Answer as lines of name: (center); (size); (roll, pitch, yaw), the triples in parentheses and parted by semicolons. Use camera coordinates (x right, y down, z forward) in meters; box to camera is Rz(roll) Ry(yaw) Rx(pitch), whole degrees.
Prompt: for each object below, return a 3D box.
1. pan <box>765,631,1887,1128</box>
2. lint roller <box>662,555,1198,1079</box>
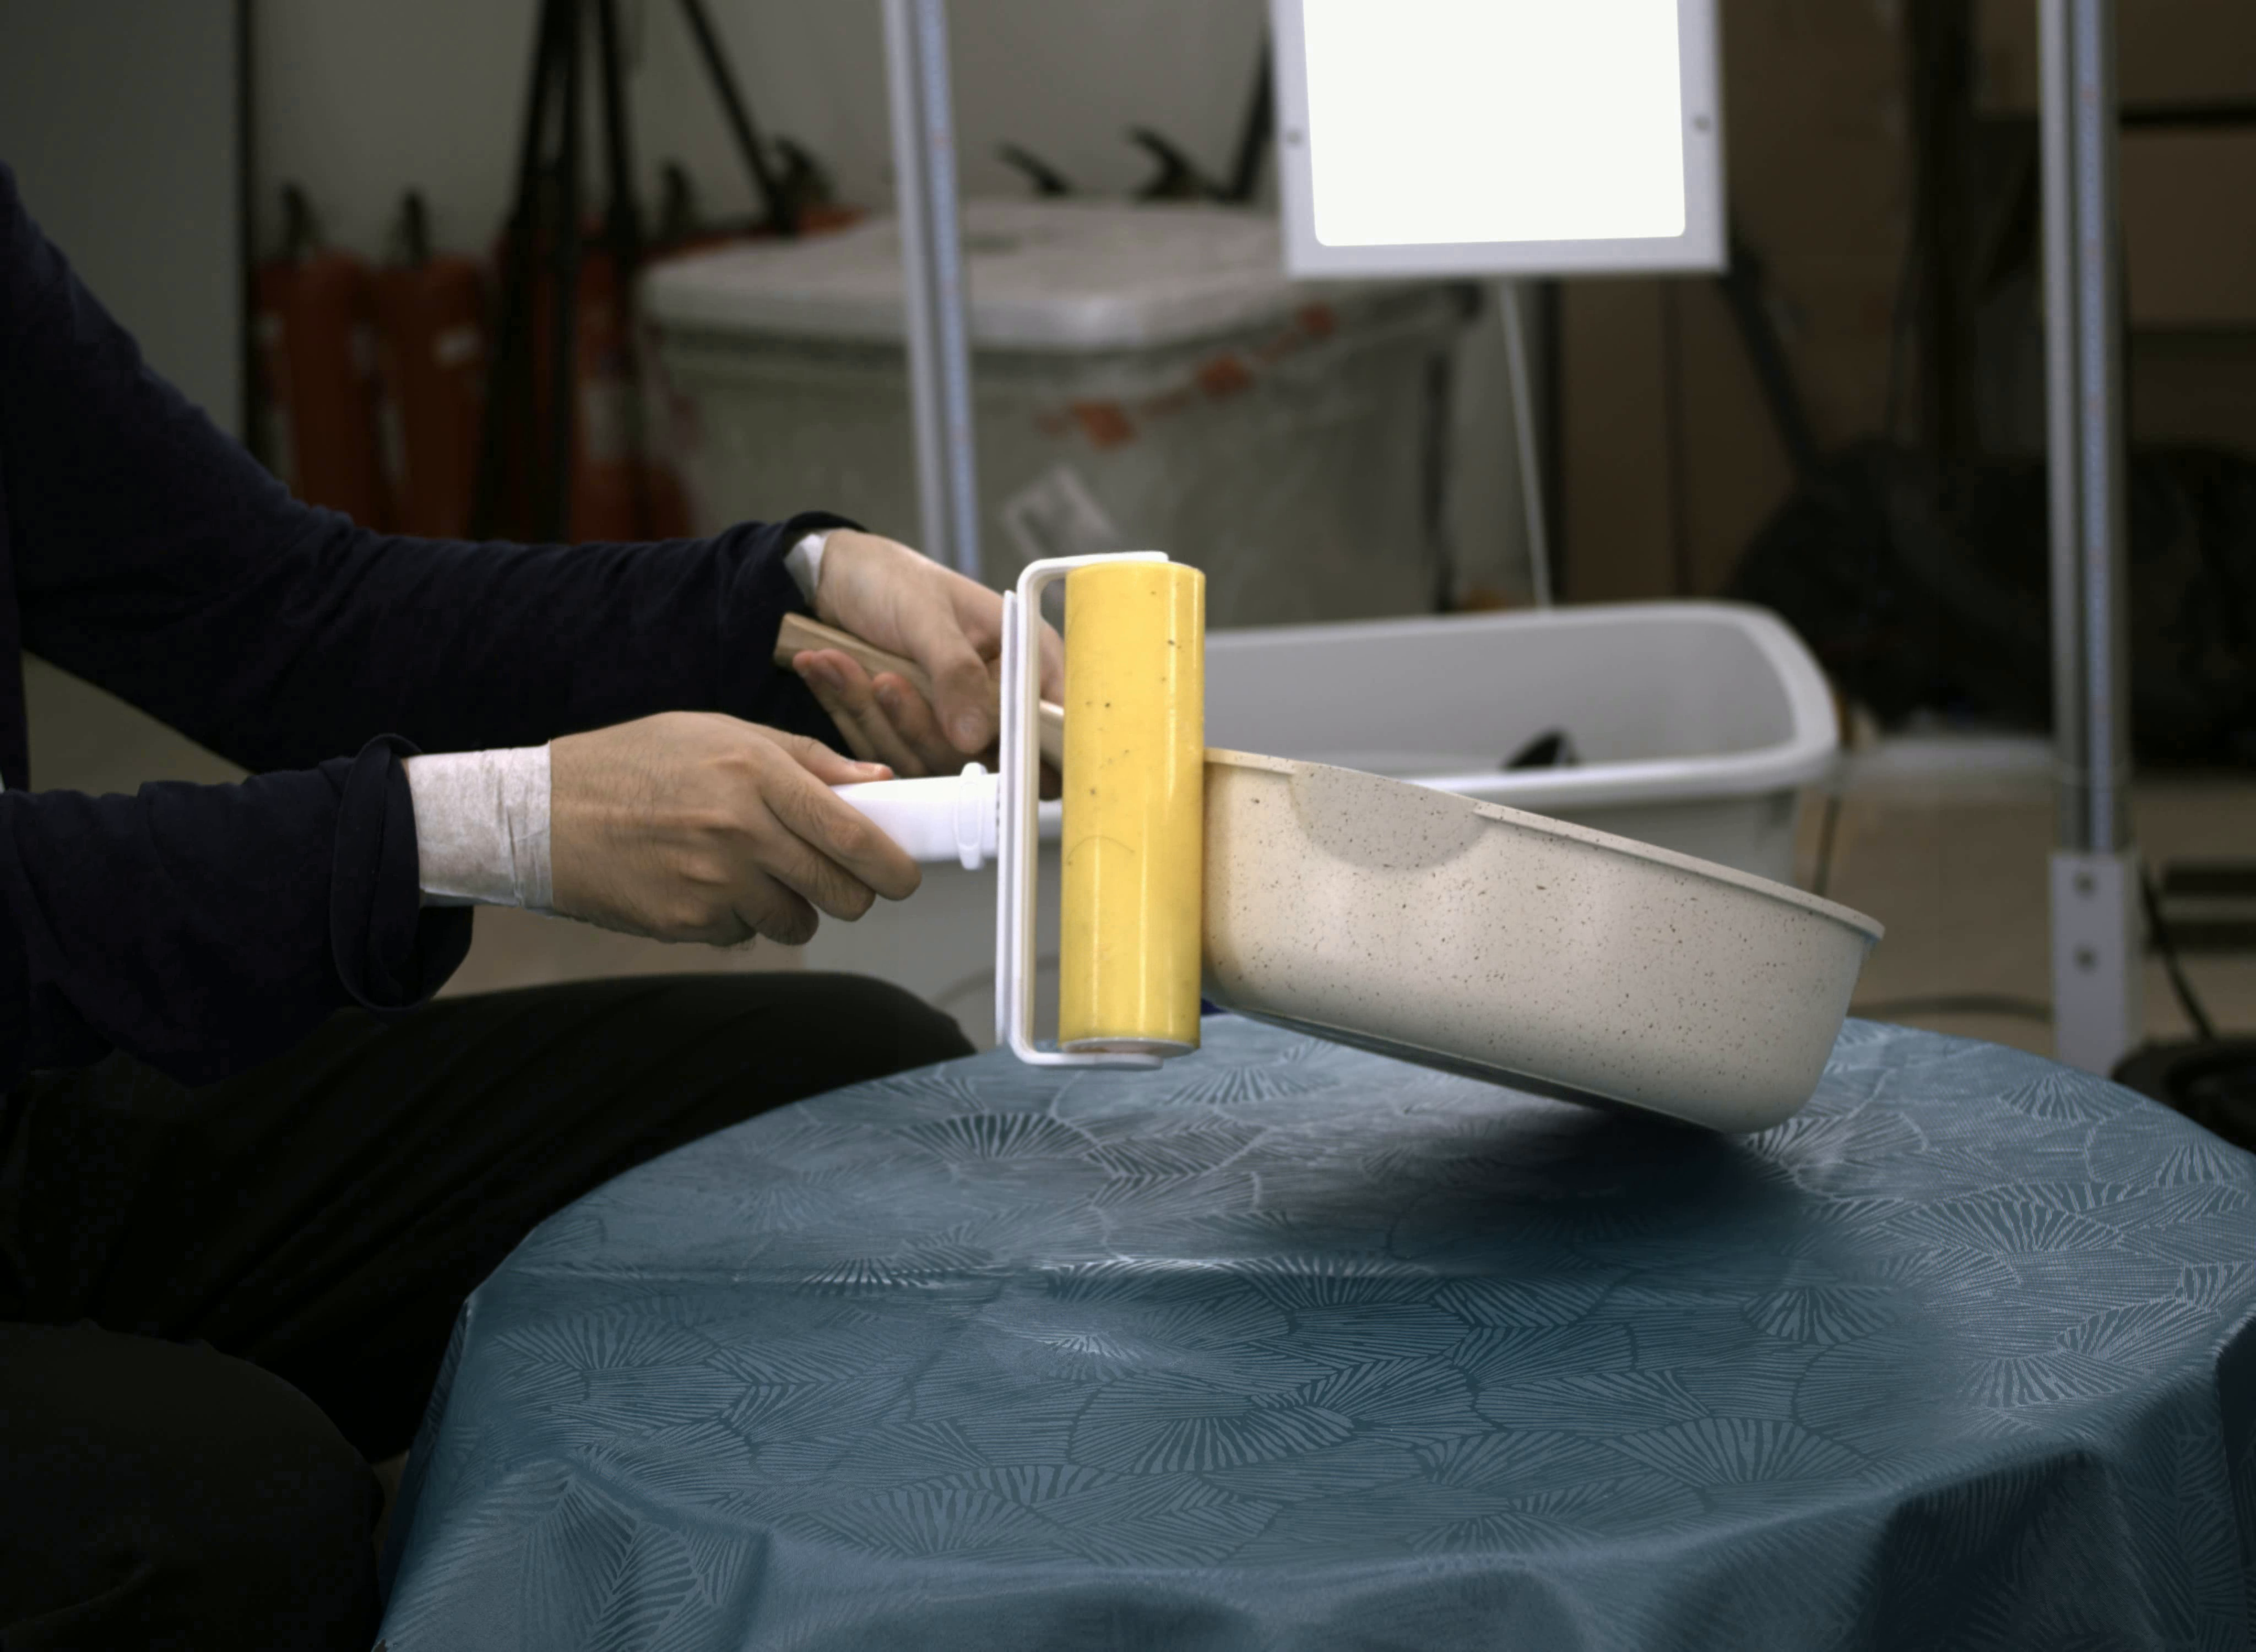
pan: (0.050, 0.019, 1.924); (0.442, 0.102, 0.258); (12, -1, 29)
lint roller: (-0.070, 0.000, 1.846); (0.194, 0.174, 0.051); (-3, -12, 15)
